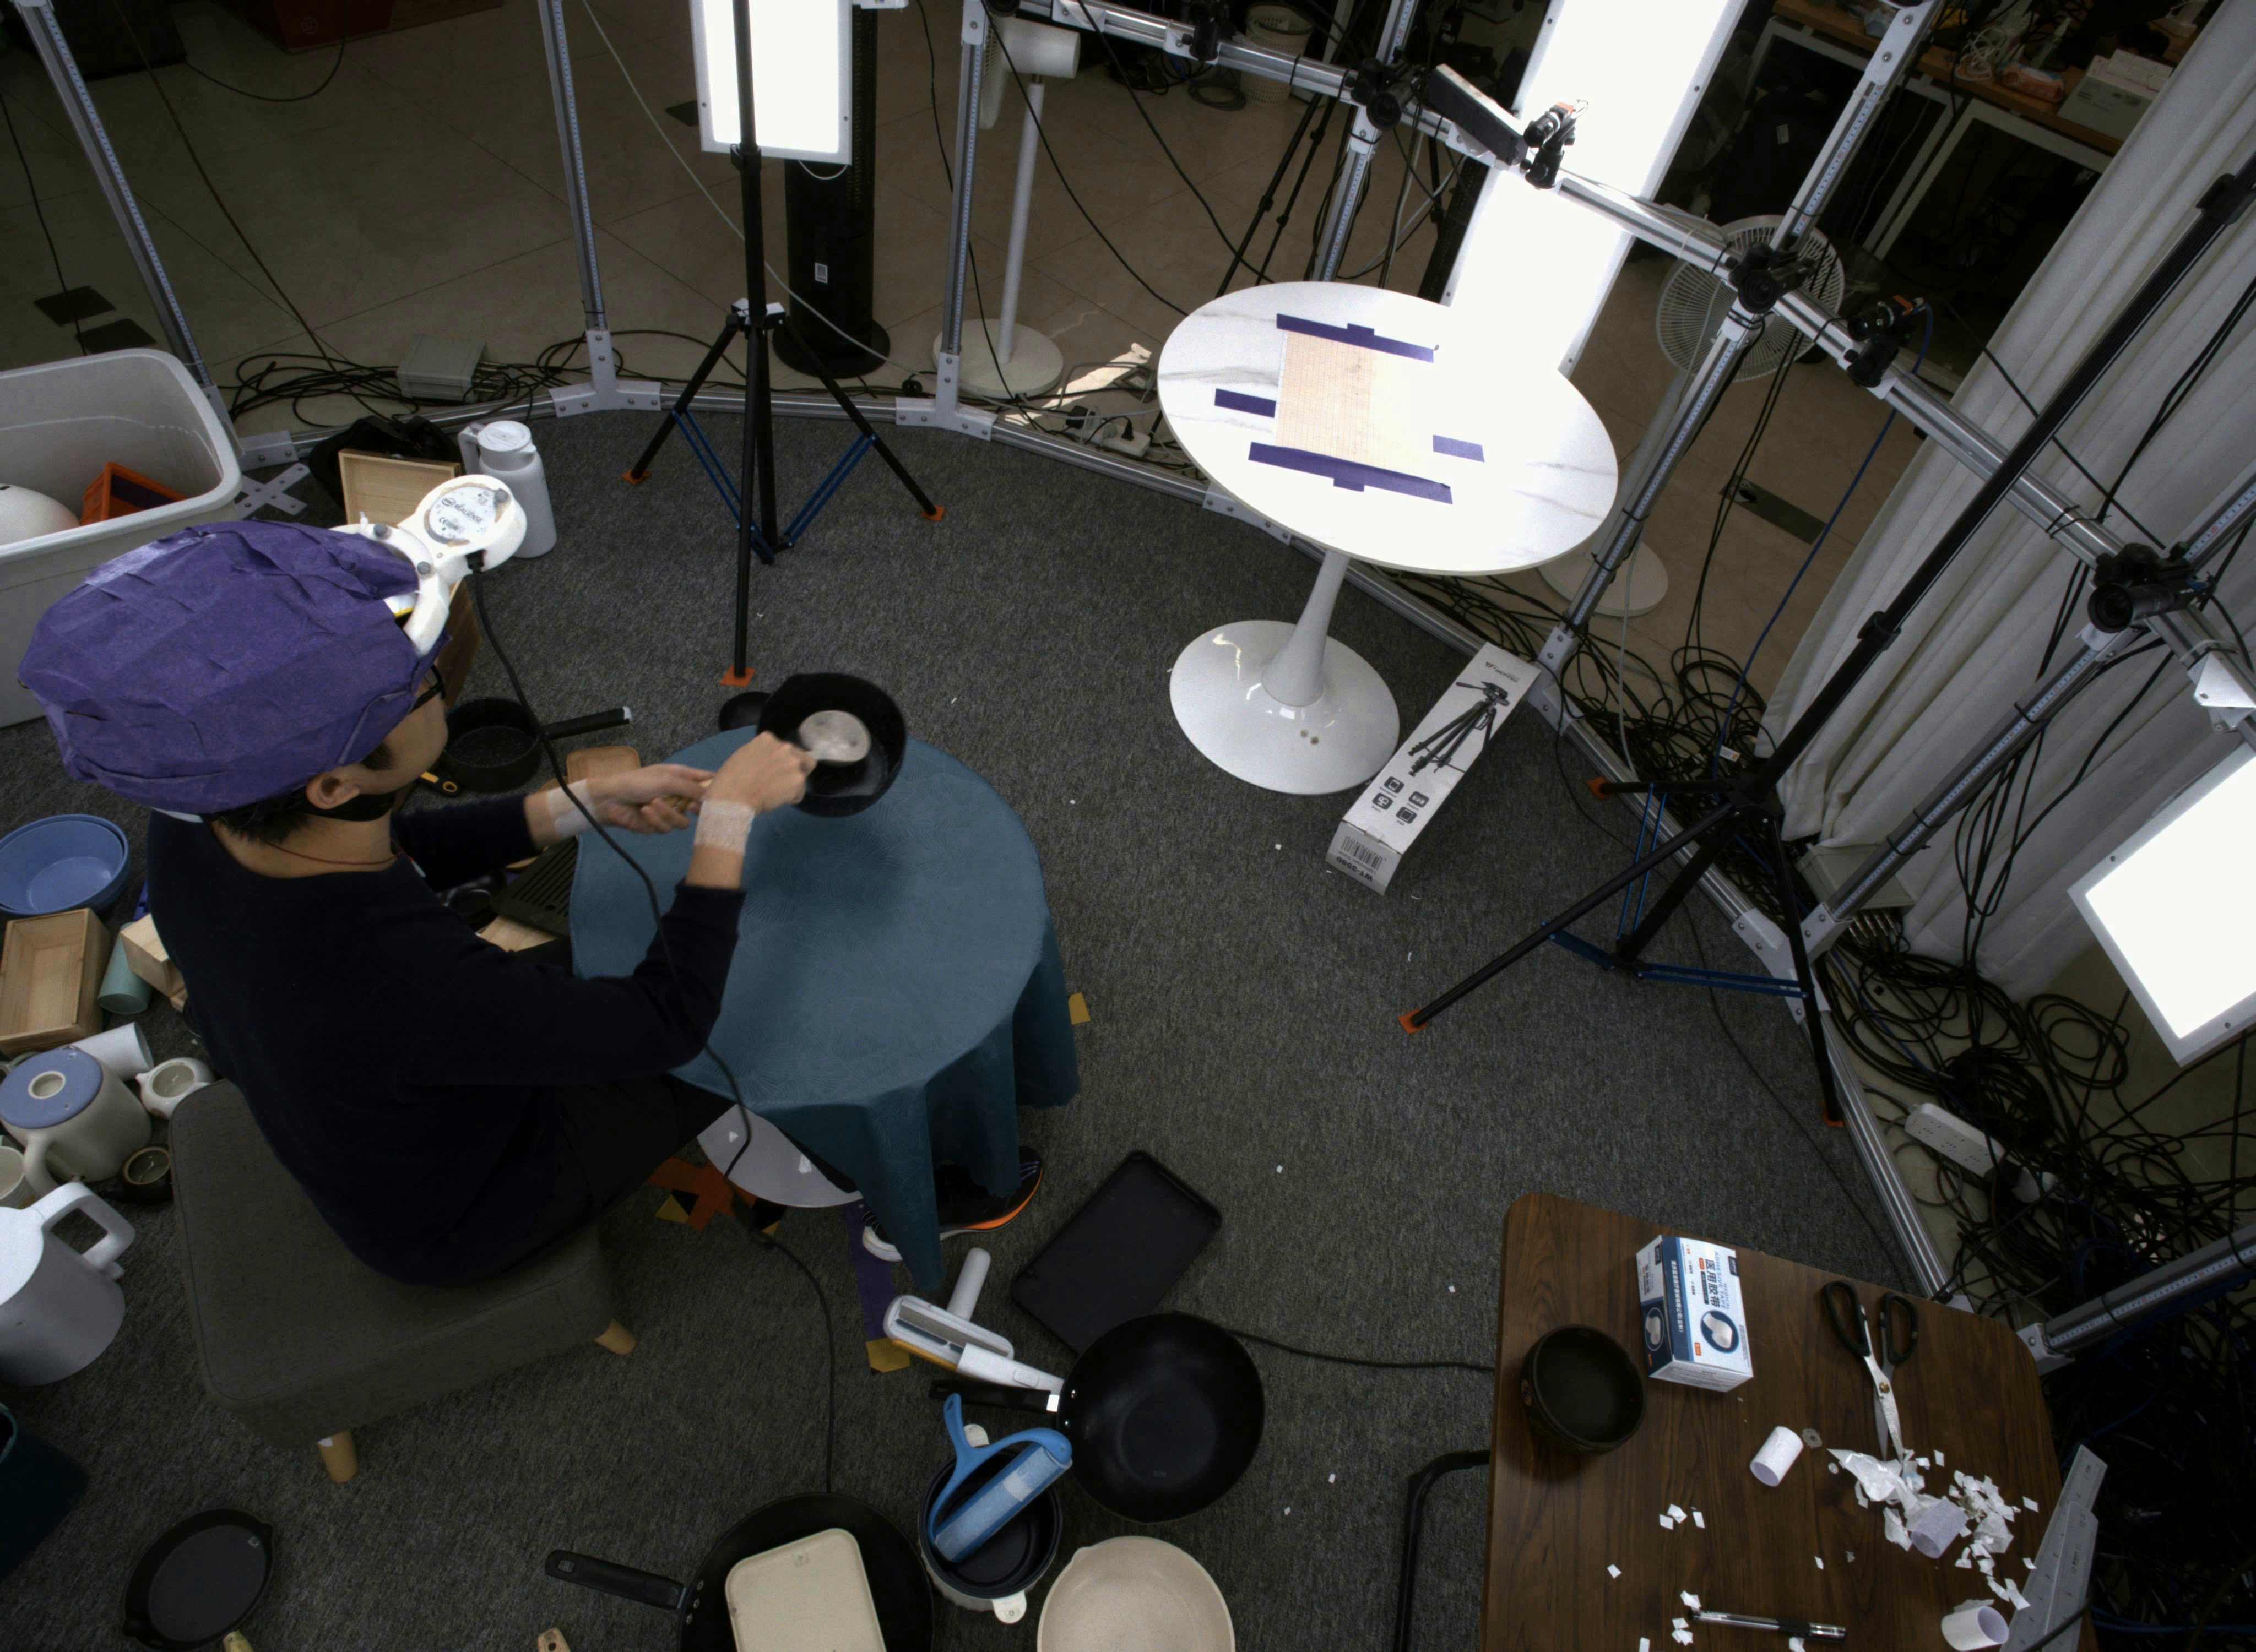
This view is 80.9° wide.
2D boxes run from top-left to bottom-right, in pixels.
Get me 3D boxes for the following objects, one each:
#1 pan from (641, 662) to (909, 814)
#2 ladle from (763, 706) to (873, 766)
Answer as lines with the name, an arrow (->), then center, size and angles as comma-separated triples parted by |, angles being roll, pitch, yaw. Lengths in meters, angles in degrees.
pan -> -0.428, -0.073, 1.574 | 0.344, 0.109, 0.205 | -30, 75, -29
ladle -> -0.371, -0.108, 1.533 | 0.089, 0.273, 0.070 | 29, 94, -1
